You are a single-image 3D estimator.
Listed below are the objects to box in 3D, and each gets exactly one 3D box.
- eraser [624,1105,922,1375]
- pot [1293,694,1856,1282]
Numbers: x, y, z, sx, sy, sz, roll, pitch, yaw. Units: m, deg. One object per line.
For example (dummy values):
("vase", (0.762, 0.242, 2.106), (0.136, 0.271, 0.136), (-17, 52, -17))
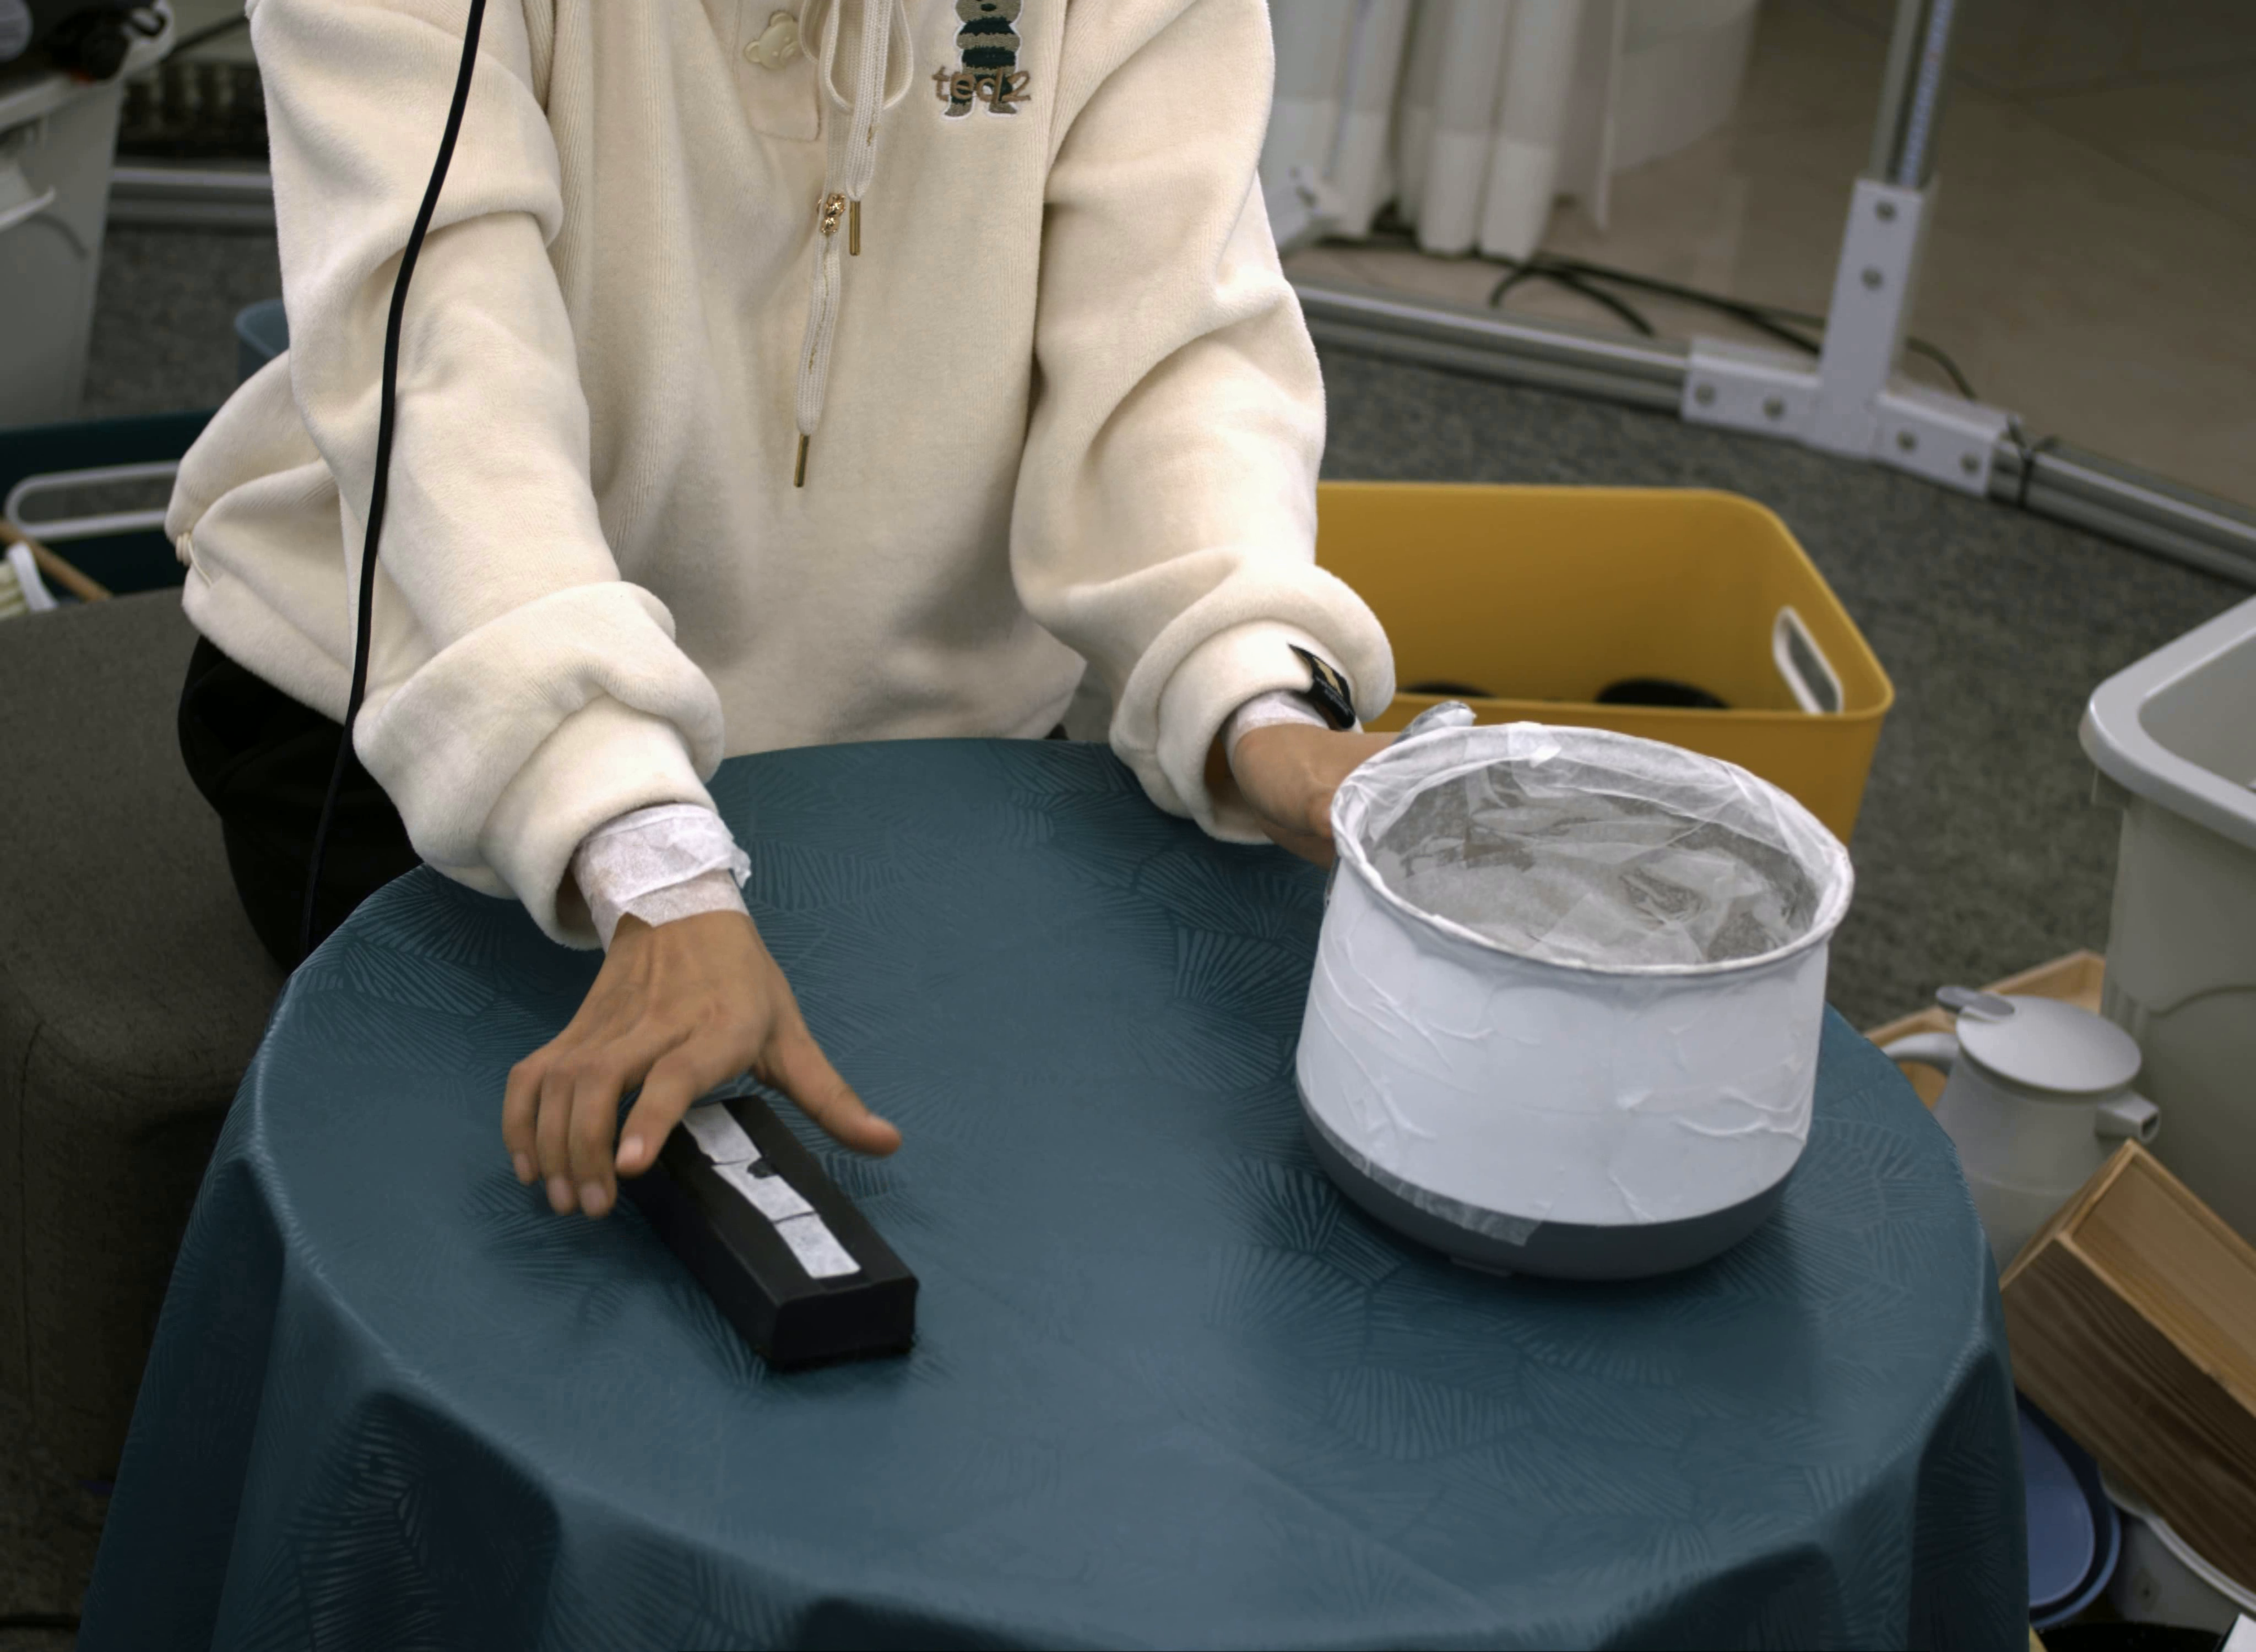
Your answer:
("eraser", (-0.116, 0.133, 1.727), (0.053, 0.030, 0.126), (-7, 29, -27))
("pot", (0.136, 0.048, 1.828), (0.177, 0.136, 0.236), (-7, 30, -26))
